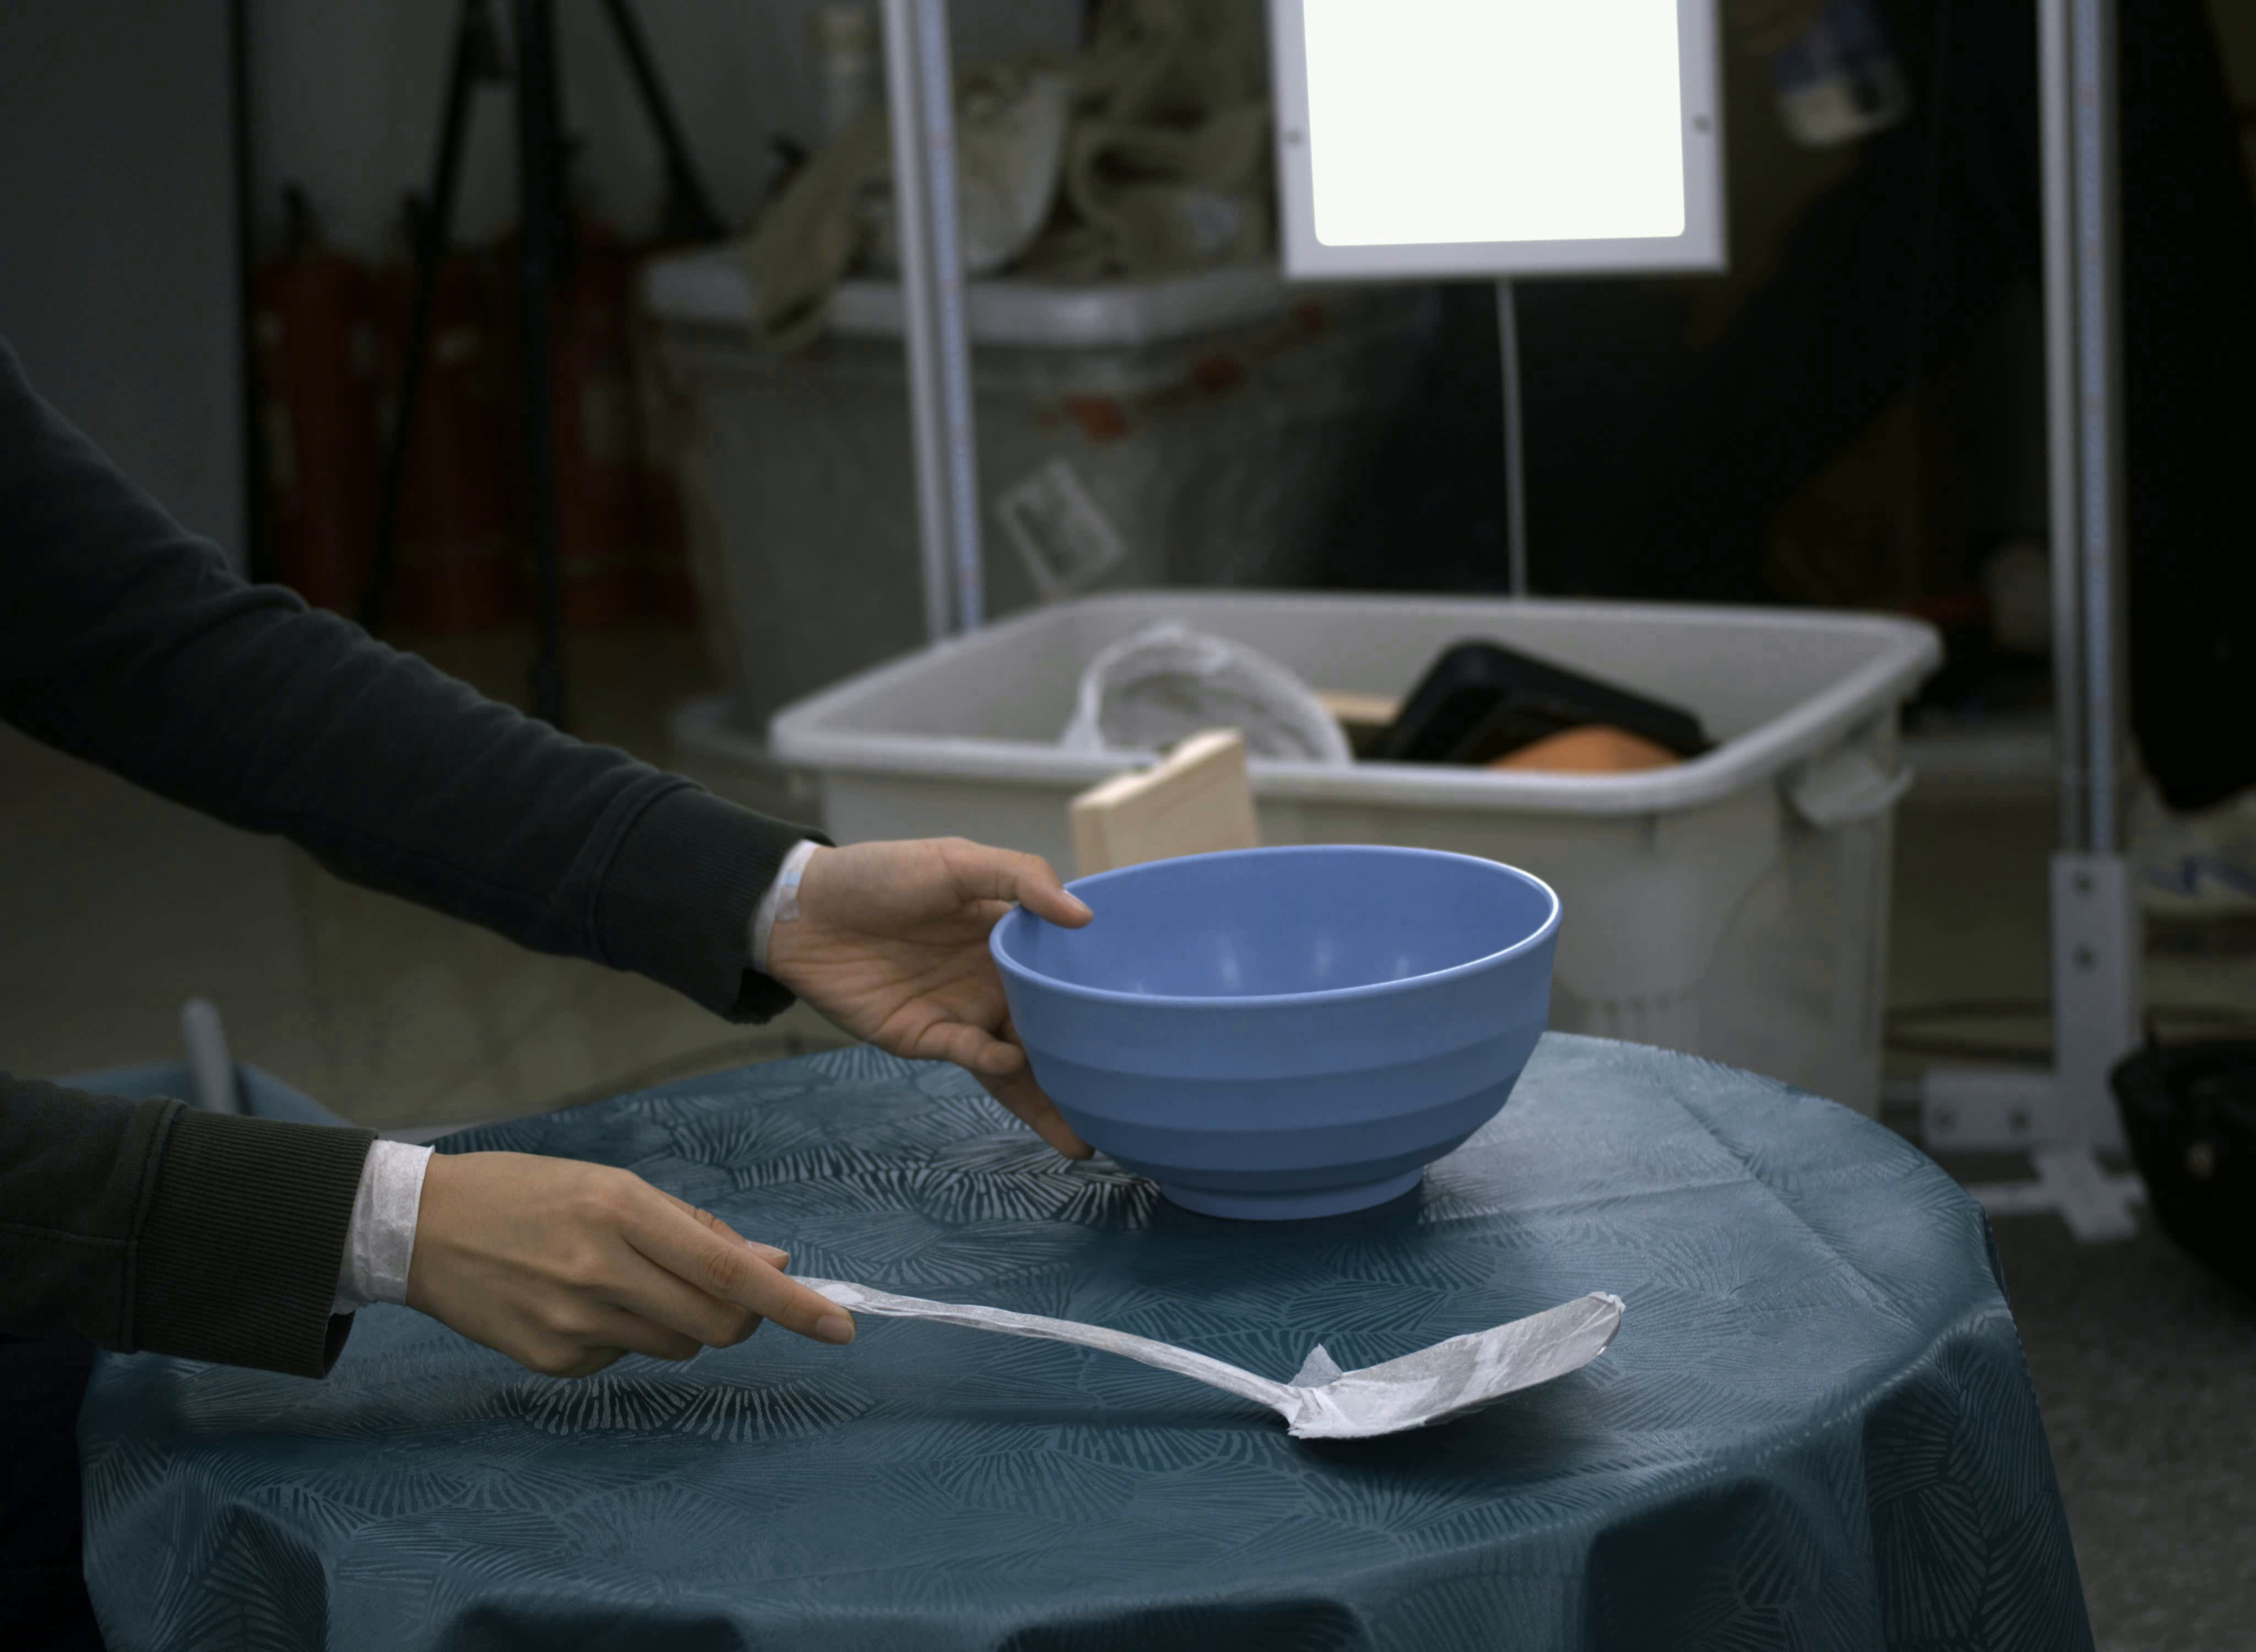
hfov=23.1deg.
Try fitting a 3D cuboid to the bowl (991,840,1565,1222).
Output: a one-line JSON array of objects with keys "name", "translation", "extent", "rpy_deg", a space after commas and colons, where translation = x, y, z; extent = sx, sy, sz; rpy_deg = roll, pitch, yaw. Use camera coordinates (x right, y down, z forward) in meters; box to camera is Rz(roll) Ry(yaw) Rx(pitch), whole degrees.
[{"name": "bowl", "translation": [0.054, 0.076, 1.883], "extent": [0.196, 0.096, 0.196], "rpy_deg": [-5, 15, 0]}]

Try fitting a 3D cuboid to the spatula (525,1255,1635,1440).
[{"name": "spatula", "translation": [-0.026, 0.148, 1.691], "extent": [0.369, 0.045, 0.097], "rpy_deg": [7, 17, 21]}]
